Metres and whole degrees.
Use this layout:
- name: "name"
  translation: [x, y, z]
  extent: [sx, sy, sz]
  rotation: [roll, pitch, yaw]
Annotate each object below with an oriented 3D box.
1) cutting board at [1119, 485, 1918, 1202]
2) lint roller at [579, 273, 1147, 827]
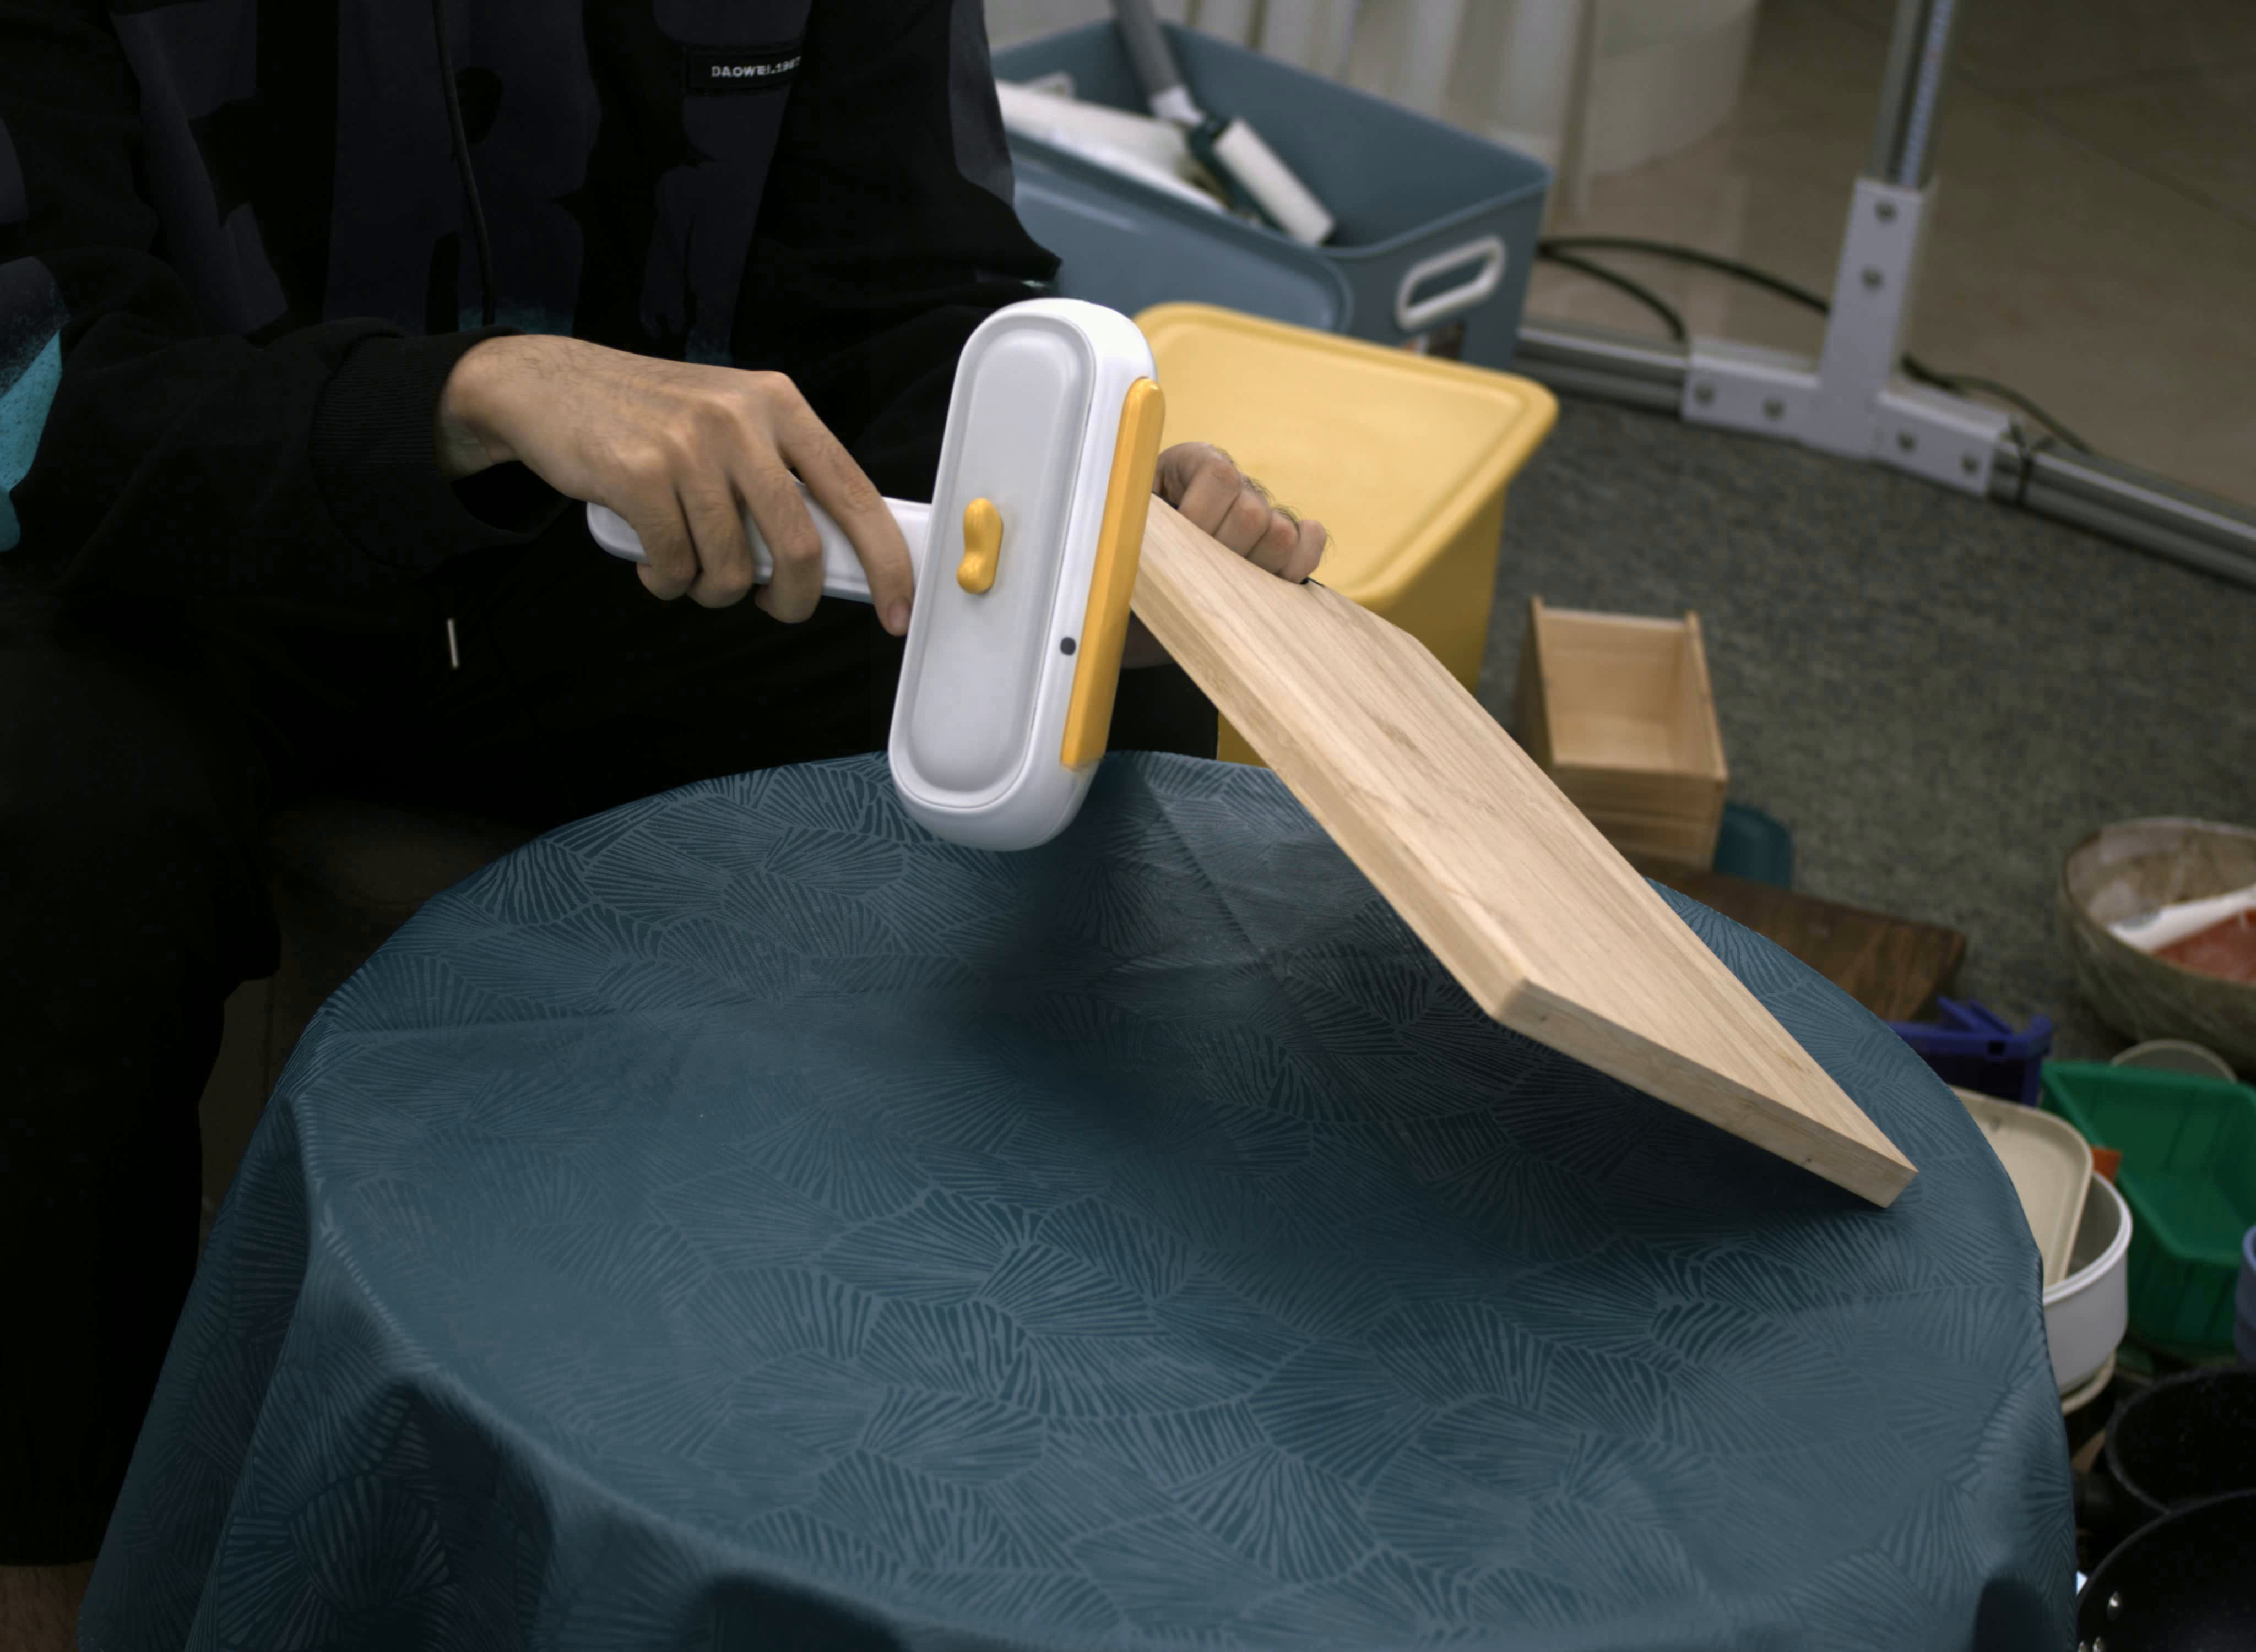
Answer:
- name: "cutting board"
  translation: [0.110, -0.008, 1.876]
  extent: [0.248, 0.023, 0.352]
  rotation: [26, 17, -45]
- name: "lint roller"
  translation: [-0.093, -0.099, 1.846]
  extent: [0.193, 0.193, 0.074]
  rotation: [3, -5, 18]
